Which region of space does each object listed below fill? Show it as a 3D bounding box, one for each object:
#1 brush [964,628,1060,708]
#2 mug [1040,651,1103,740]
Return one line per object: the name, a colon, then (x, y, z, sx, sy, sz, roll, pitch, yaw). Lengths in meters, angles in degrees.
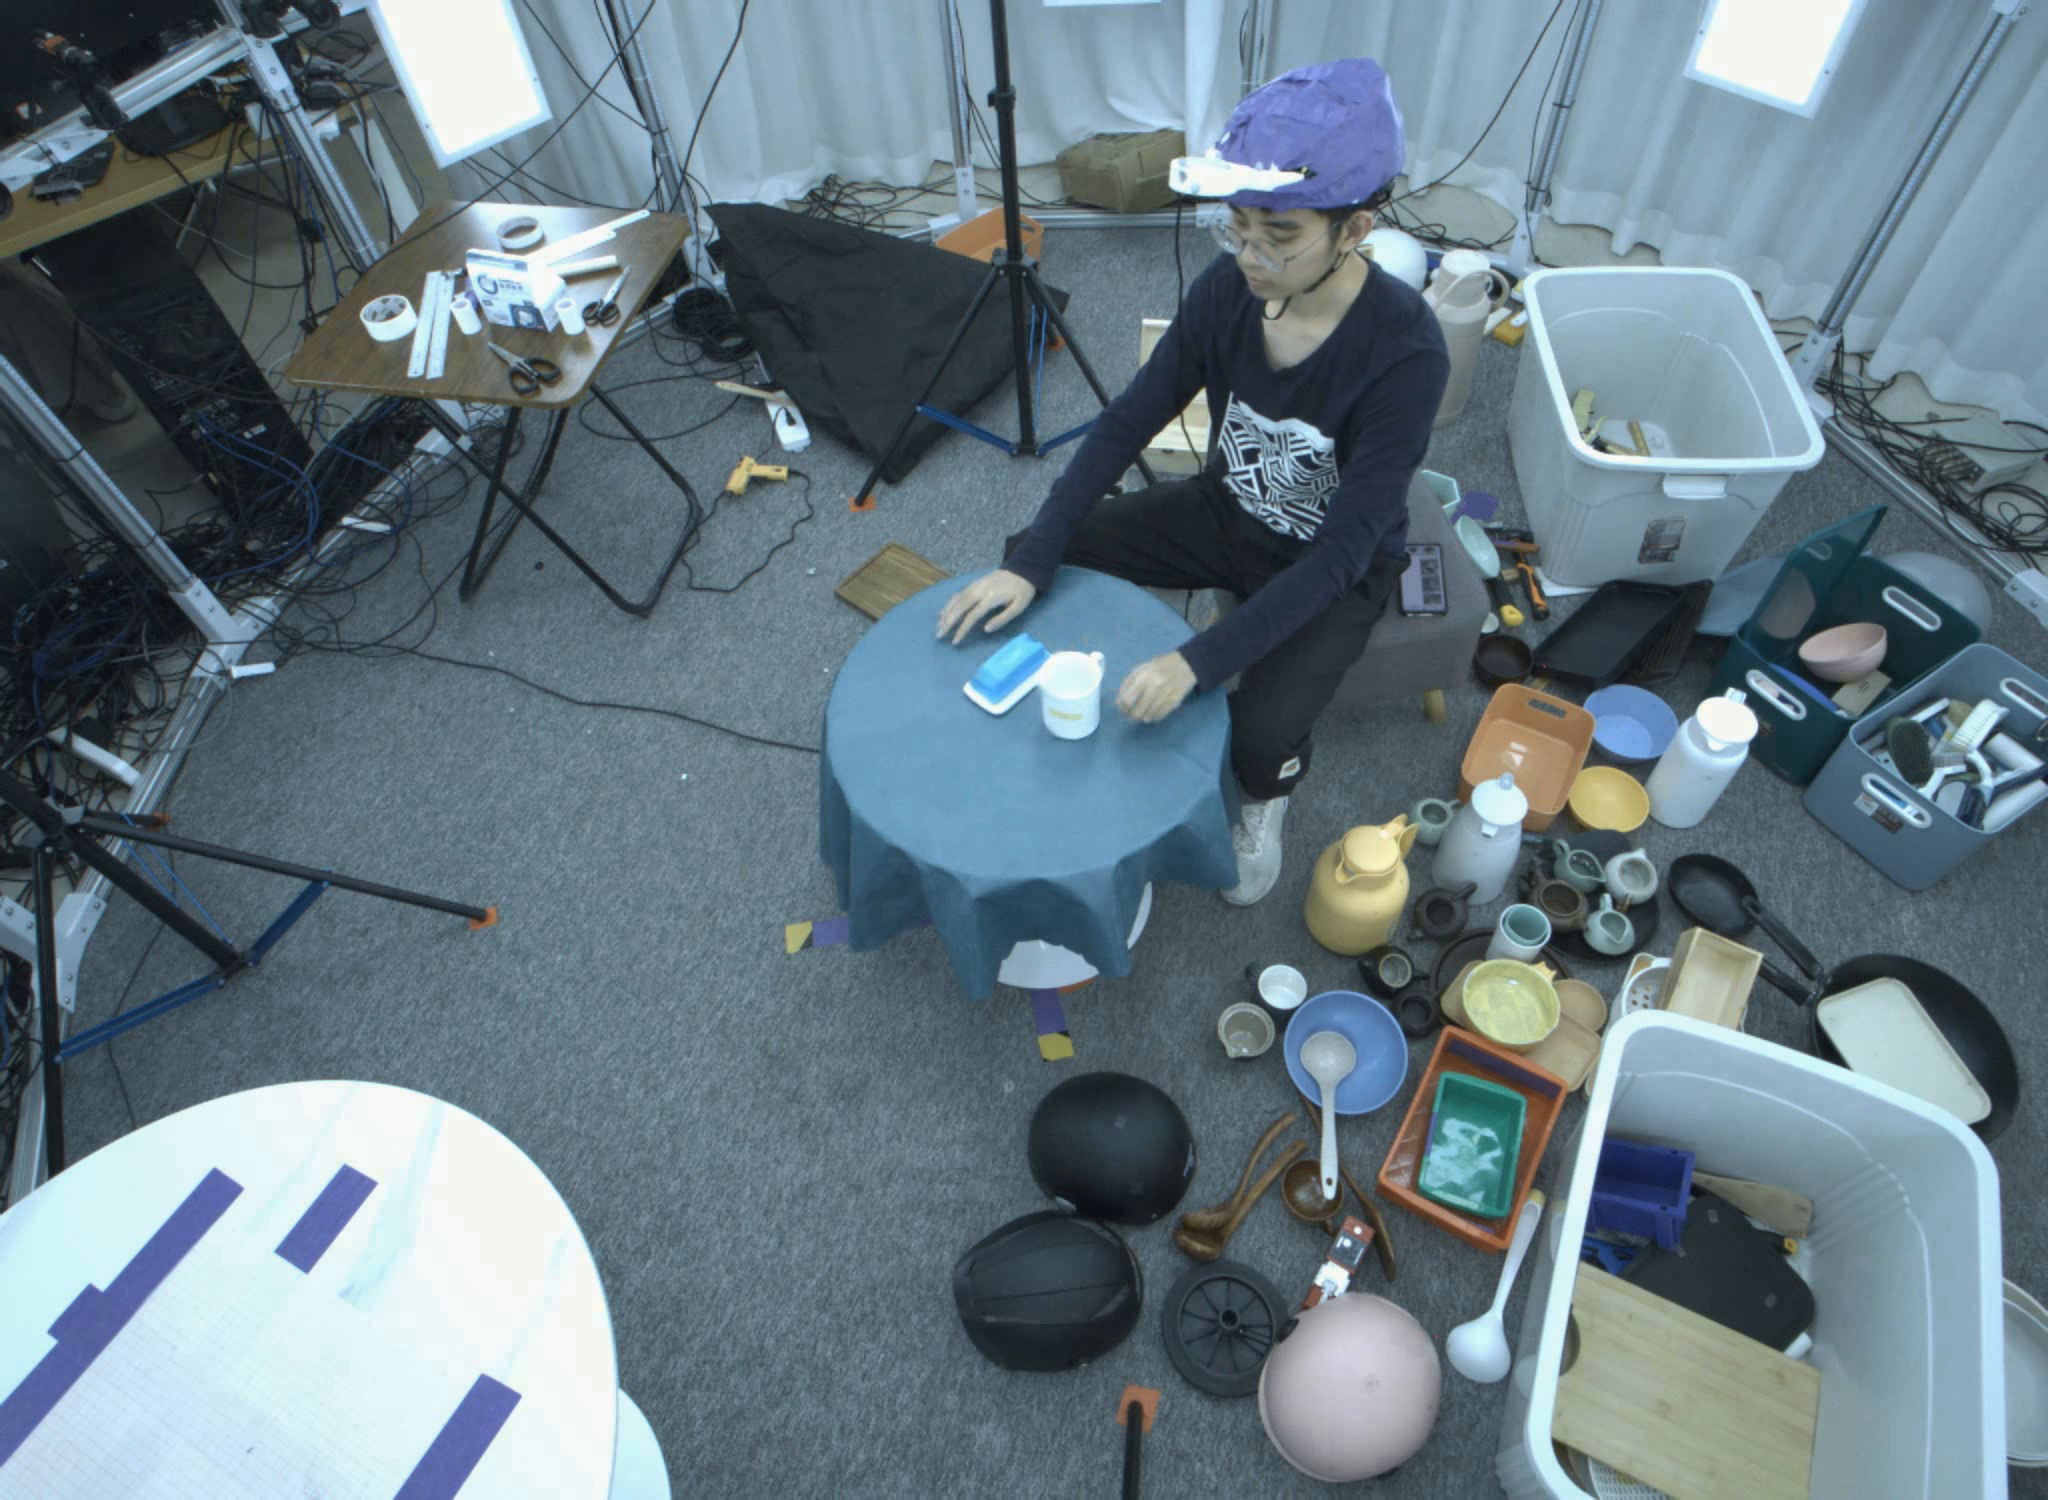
brush: (-0.018, -0.130, 1.836, 0.145, 0.056, 0.082, -41, 65, -21)
mug: (0.077, -0.087, 1.777, 0.083, 0.103, 0.119, 27, 59, 21)
